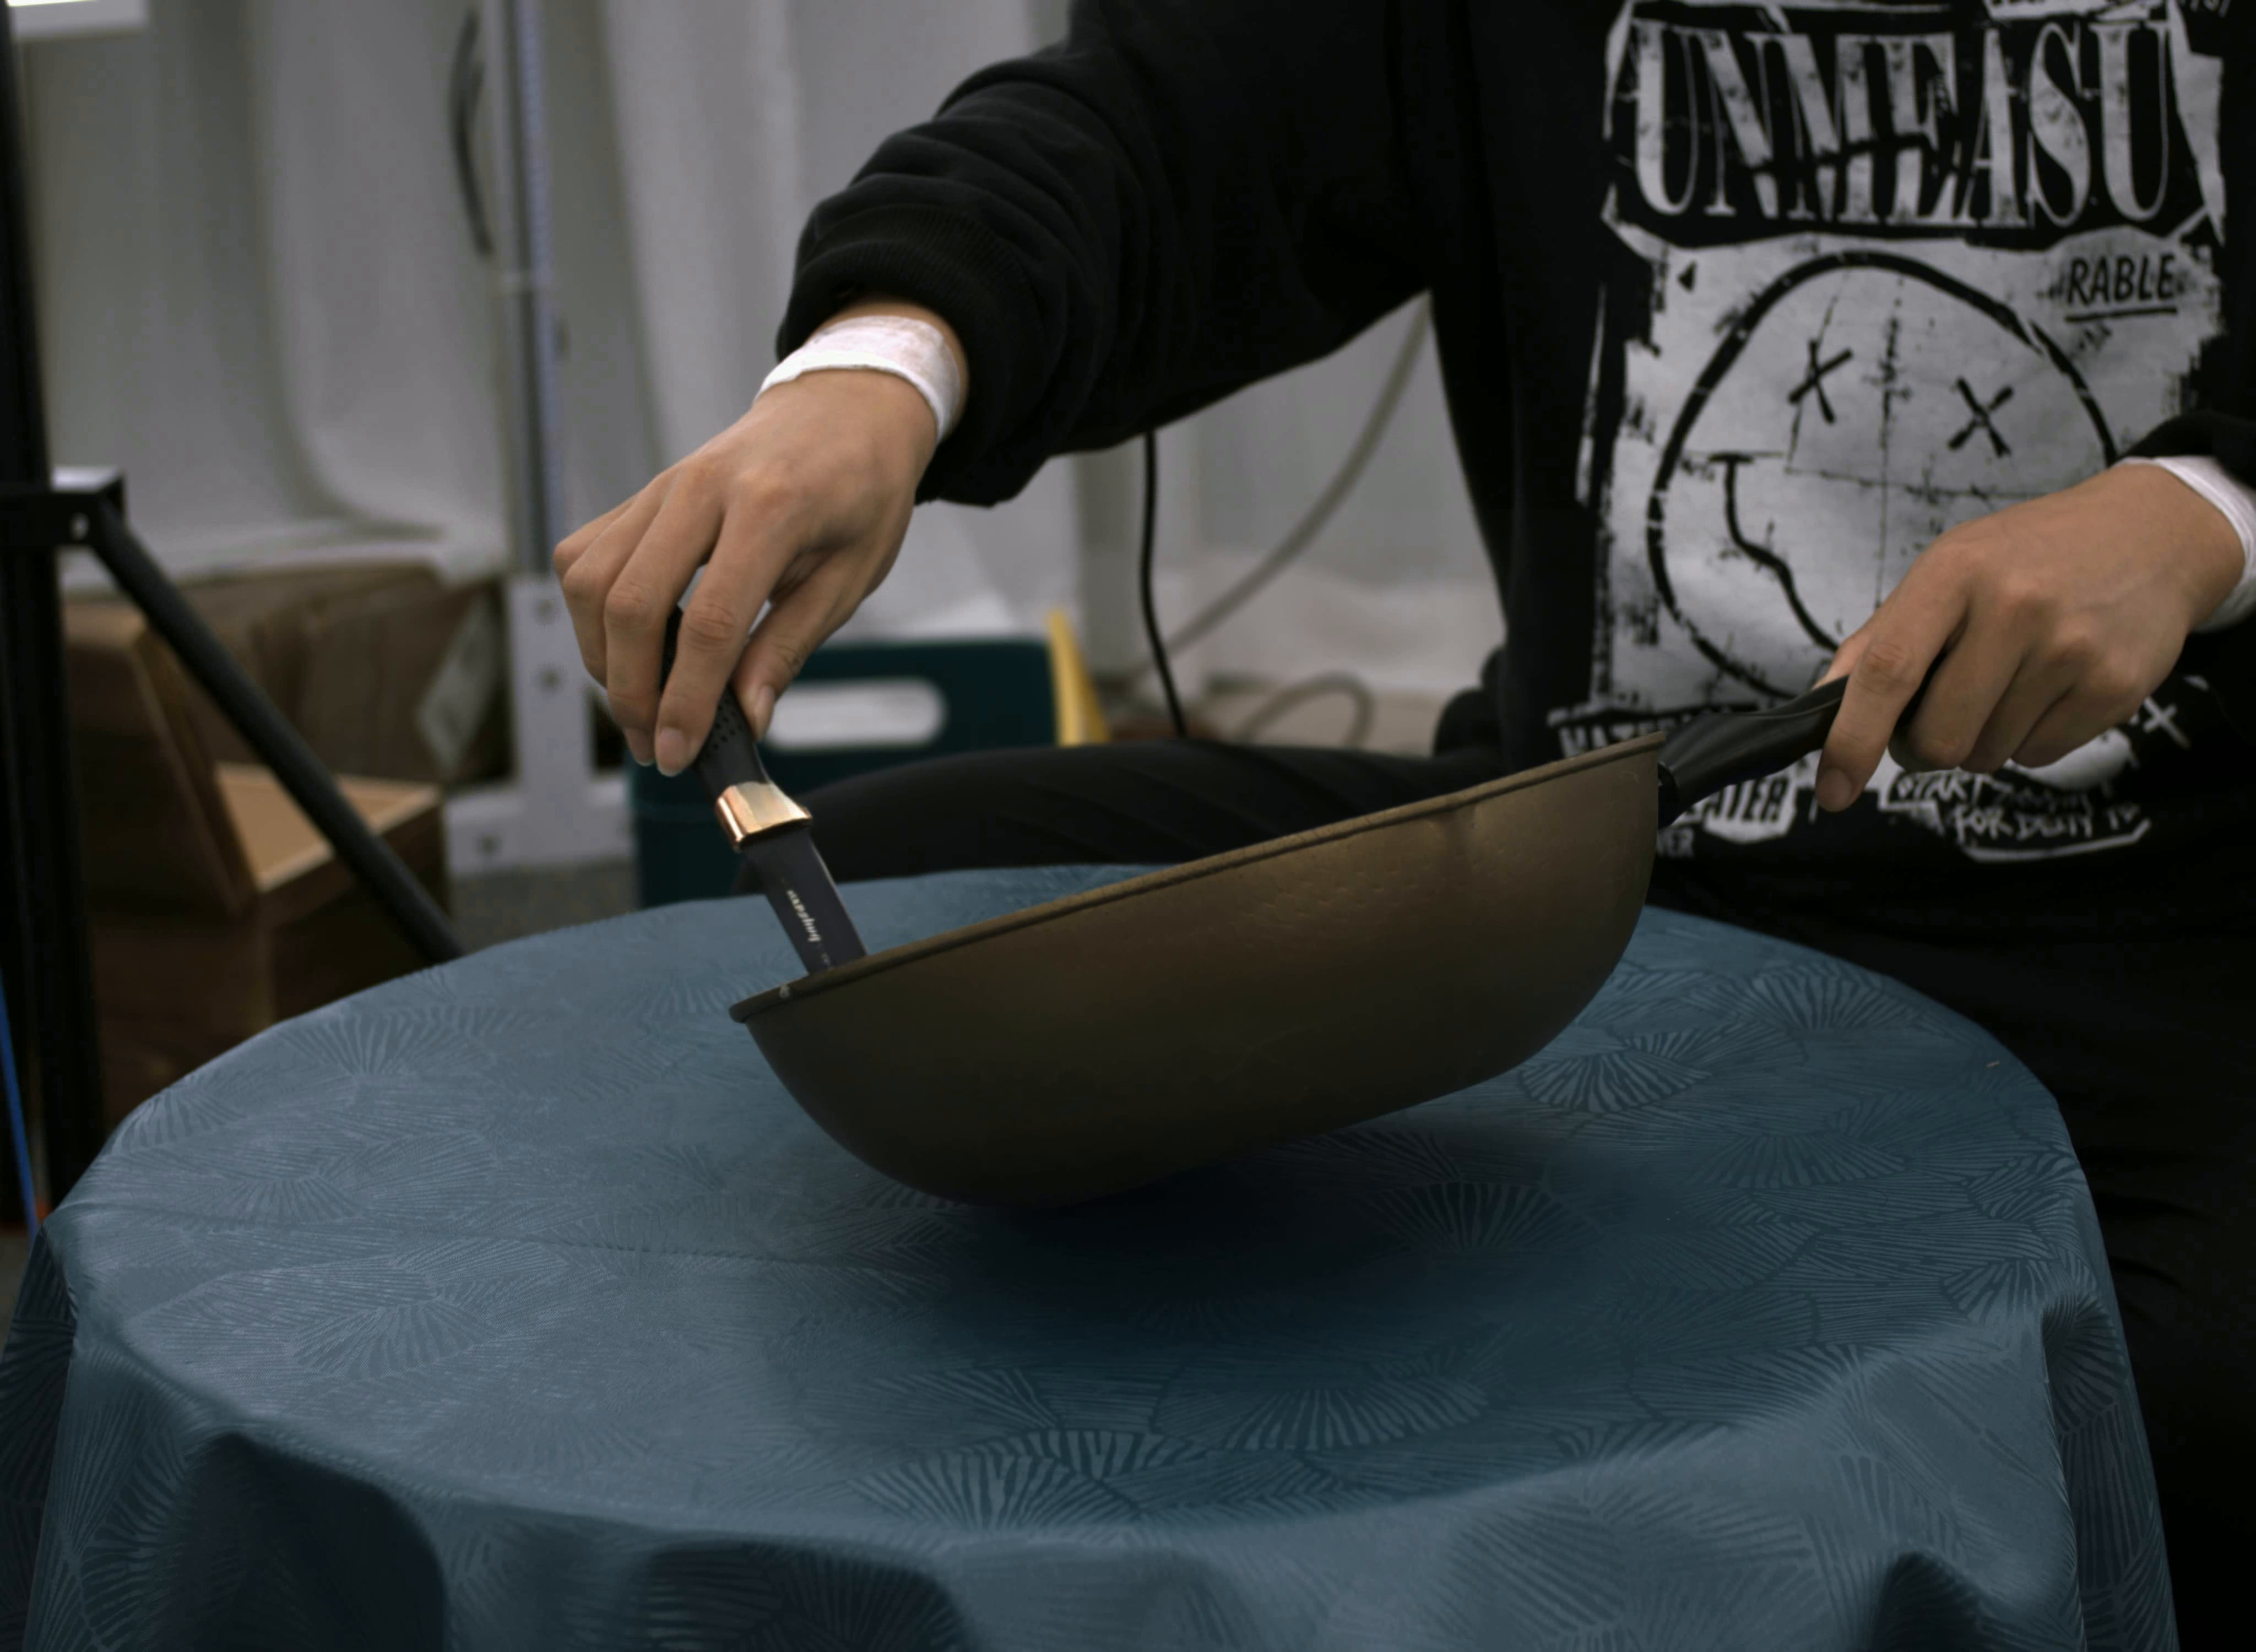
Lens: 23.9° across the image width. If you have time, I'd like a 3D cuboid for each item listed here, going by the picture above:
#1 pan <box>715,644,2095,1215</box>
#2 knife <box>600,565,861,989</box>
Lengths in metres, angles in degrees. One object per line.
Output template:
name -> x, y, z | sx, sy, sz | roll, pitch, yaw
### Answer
pan -> 0.105, 0.032, 1.548 | 0.454, 0.087, 0.292 | -14, -3, -27
knife -> -0.107, 0.005, 1.616 | 0.025, 0.017, 0.230 | -8, 54, -35
